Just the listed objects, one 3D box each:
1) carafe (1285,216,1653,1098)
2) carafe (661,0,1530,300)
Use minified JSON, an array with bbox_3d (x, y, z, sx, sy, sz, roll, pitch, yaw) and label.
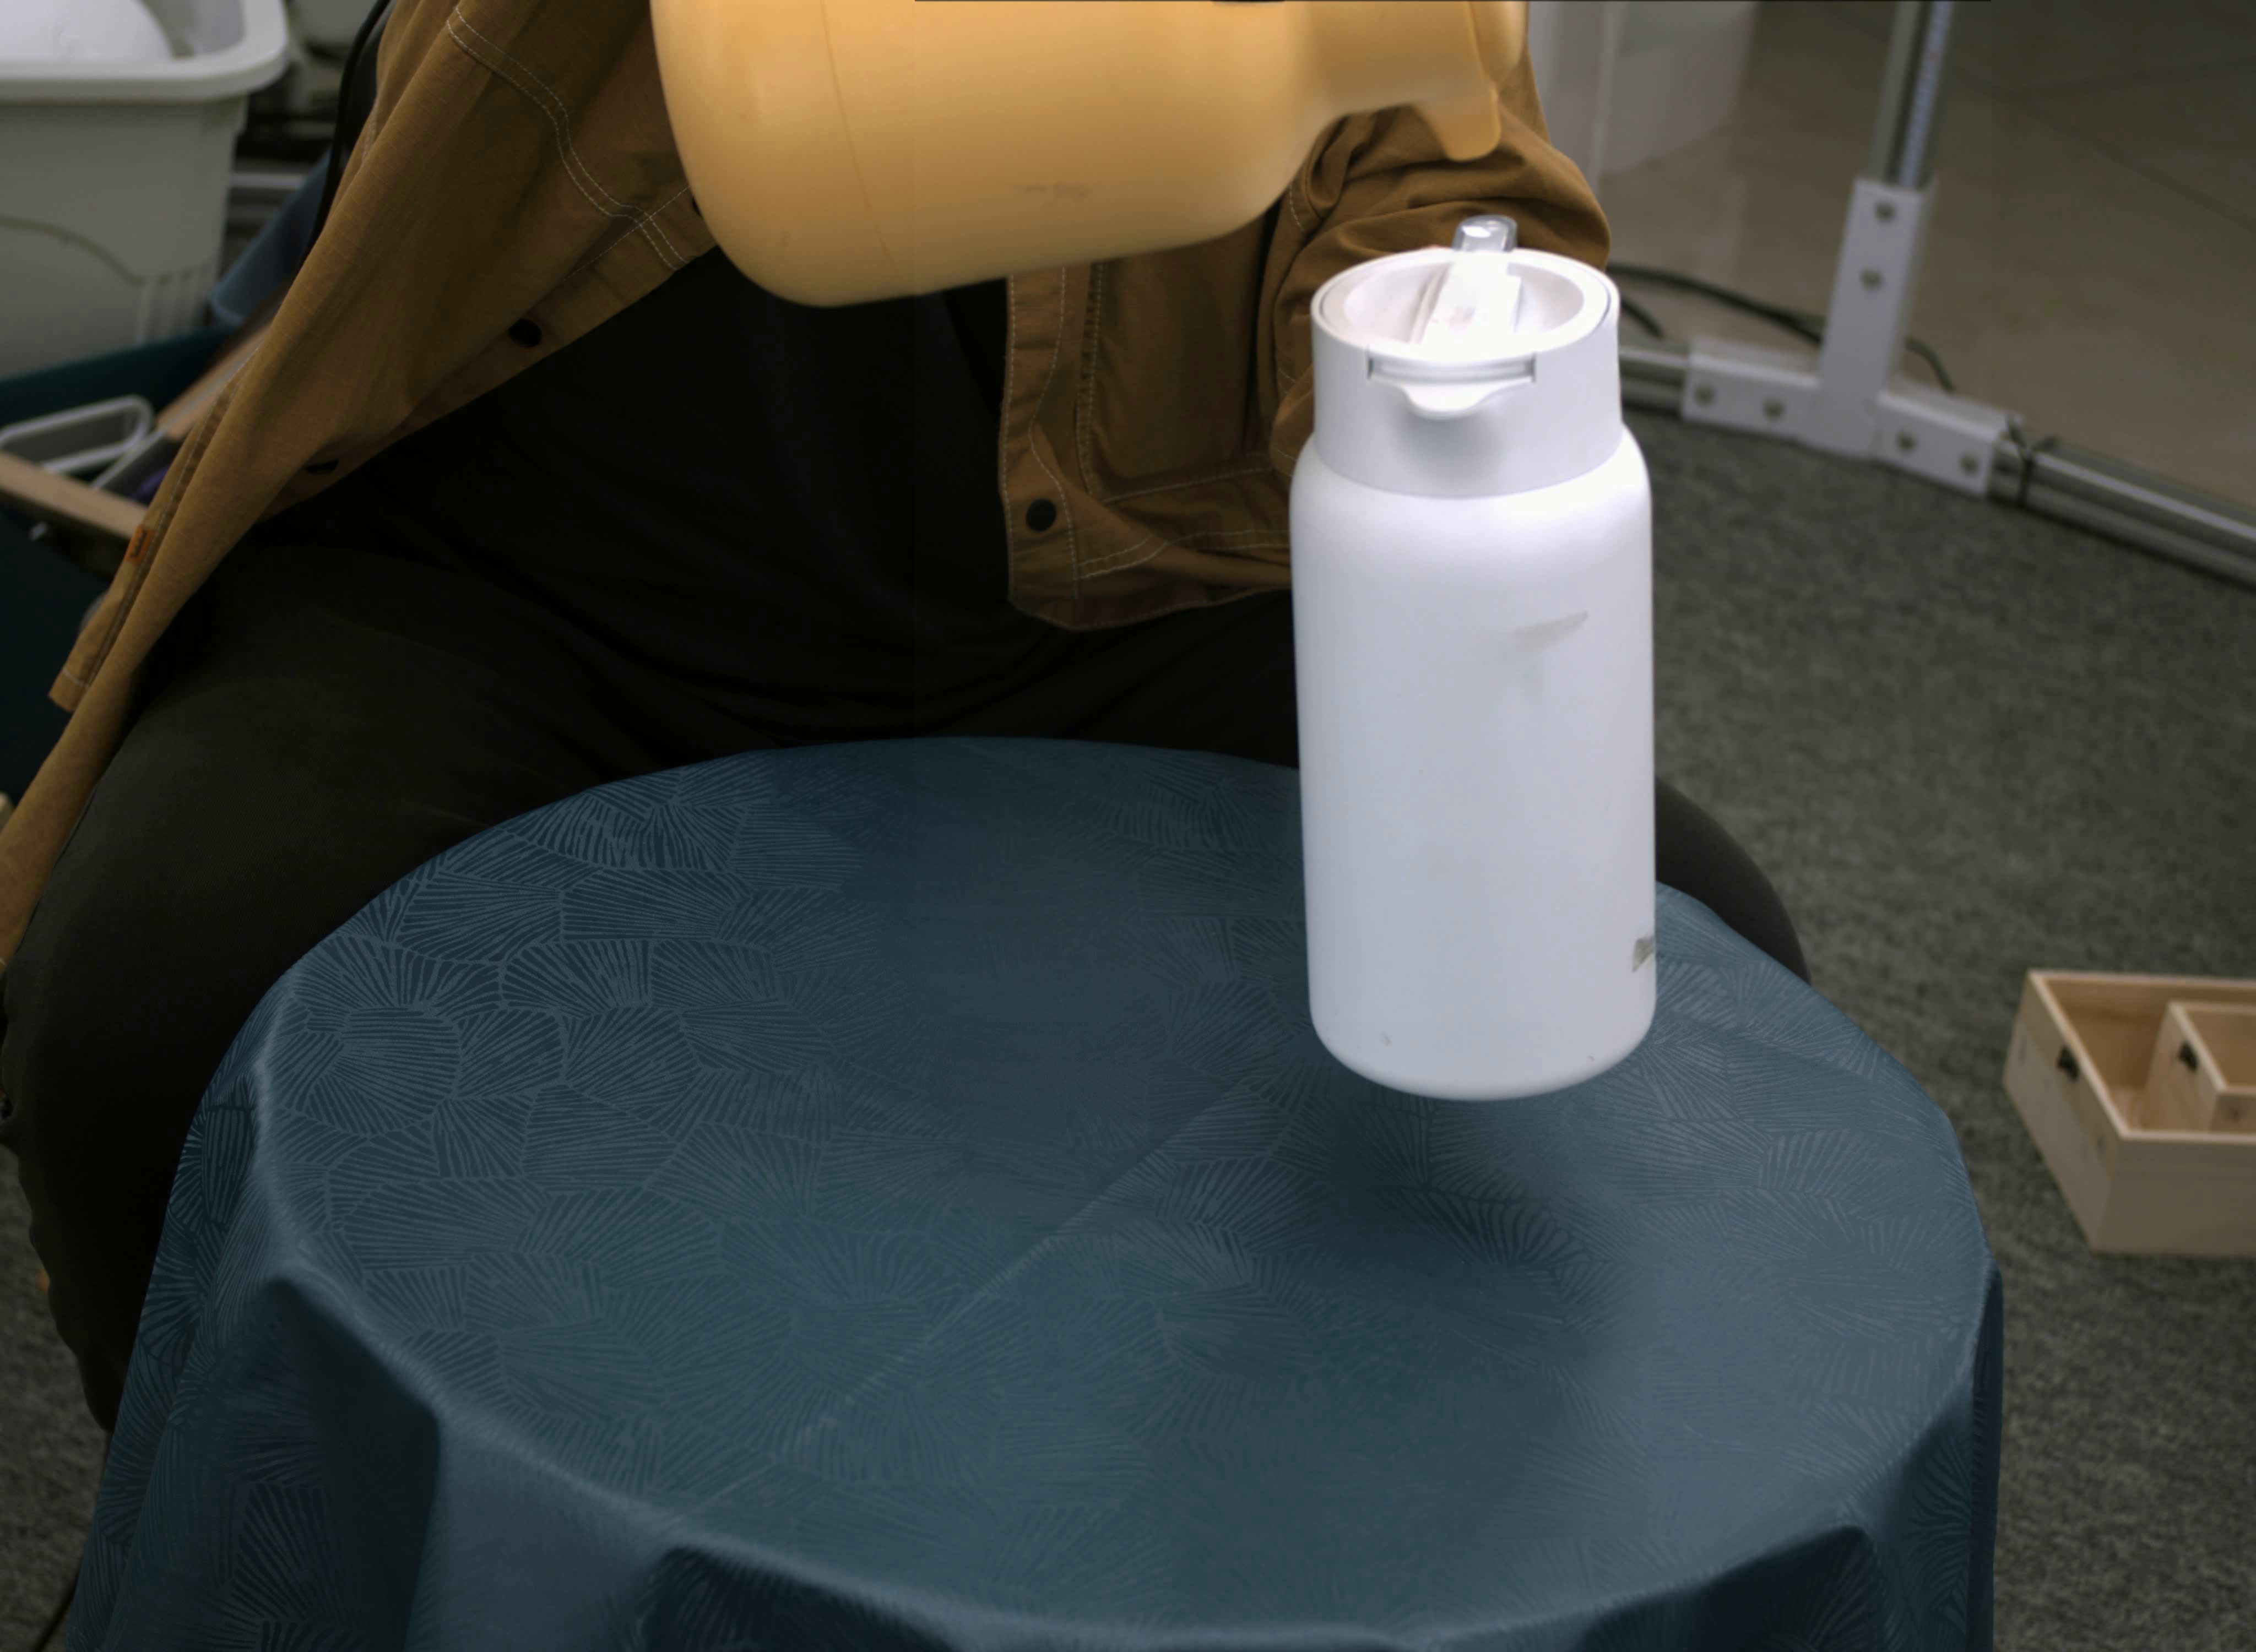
[{"bbox_3d":[0.113,-0.059,1.759,0.124,0.268,0.173,-1,26,10],"label":"carafe"},{"bbox_3d":[-0.011,-0.275,1.626,0.260,0.201,0.164,-9,31,5],"label":"carafe"}]
